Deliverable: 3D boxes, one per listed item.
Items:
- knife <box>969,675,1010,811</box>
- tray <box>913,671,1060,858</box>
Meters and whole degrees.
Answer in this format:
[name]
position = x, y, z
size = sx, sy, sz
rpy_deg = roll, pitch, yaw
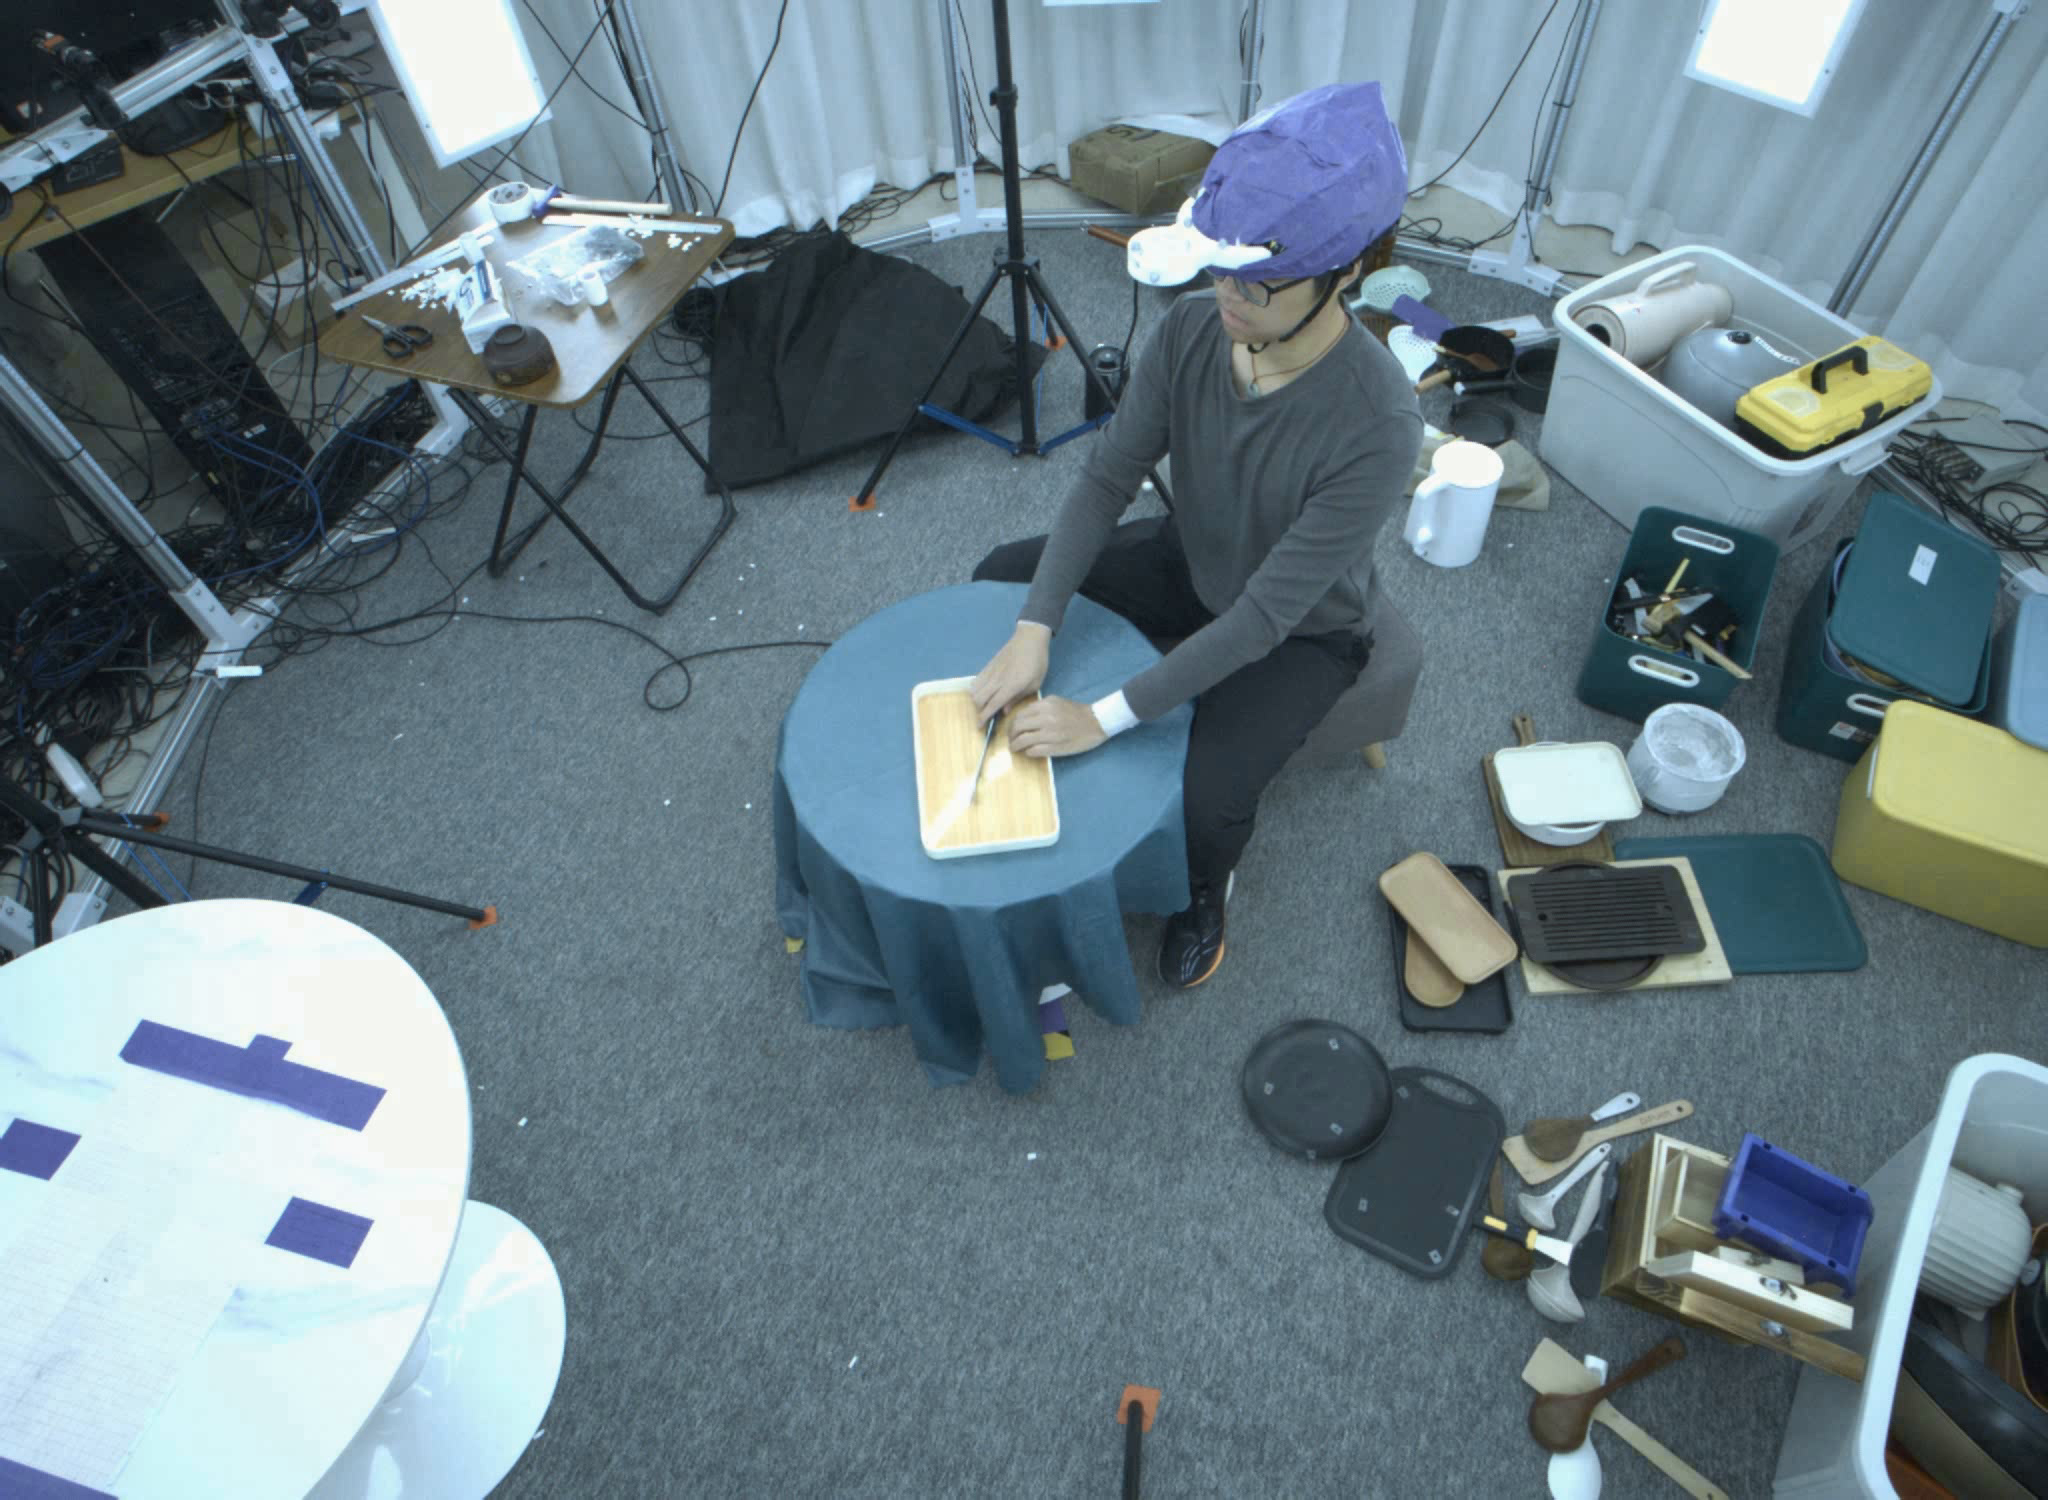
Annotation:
[knife]
position = -0.053, -0.015, 1.780
size = 0.016, 0.025, 0.237
rpy_deg = 7, 58, 11
[tray]
position = -0.058, 0.015, 1.770
size = 0.192, 0.027, 0.296
rpy_deg = -5, 55, -3
